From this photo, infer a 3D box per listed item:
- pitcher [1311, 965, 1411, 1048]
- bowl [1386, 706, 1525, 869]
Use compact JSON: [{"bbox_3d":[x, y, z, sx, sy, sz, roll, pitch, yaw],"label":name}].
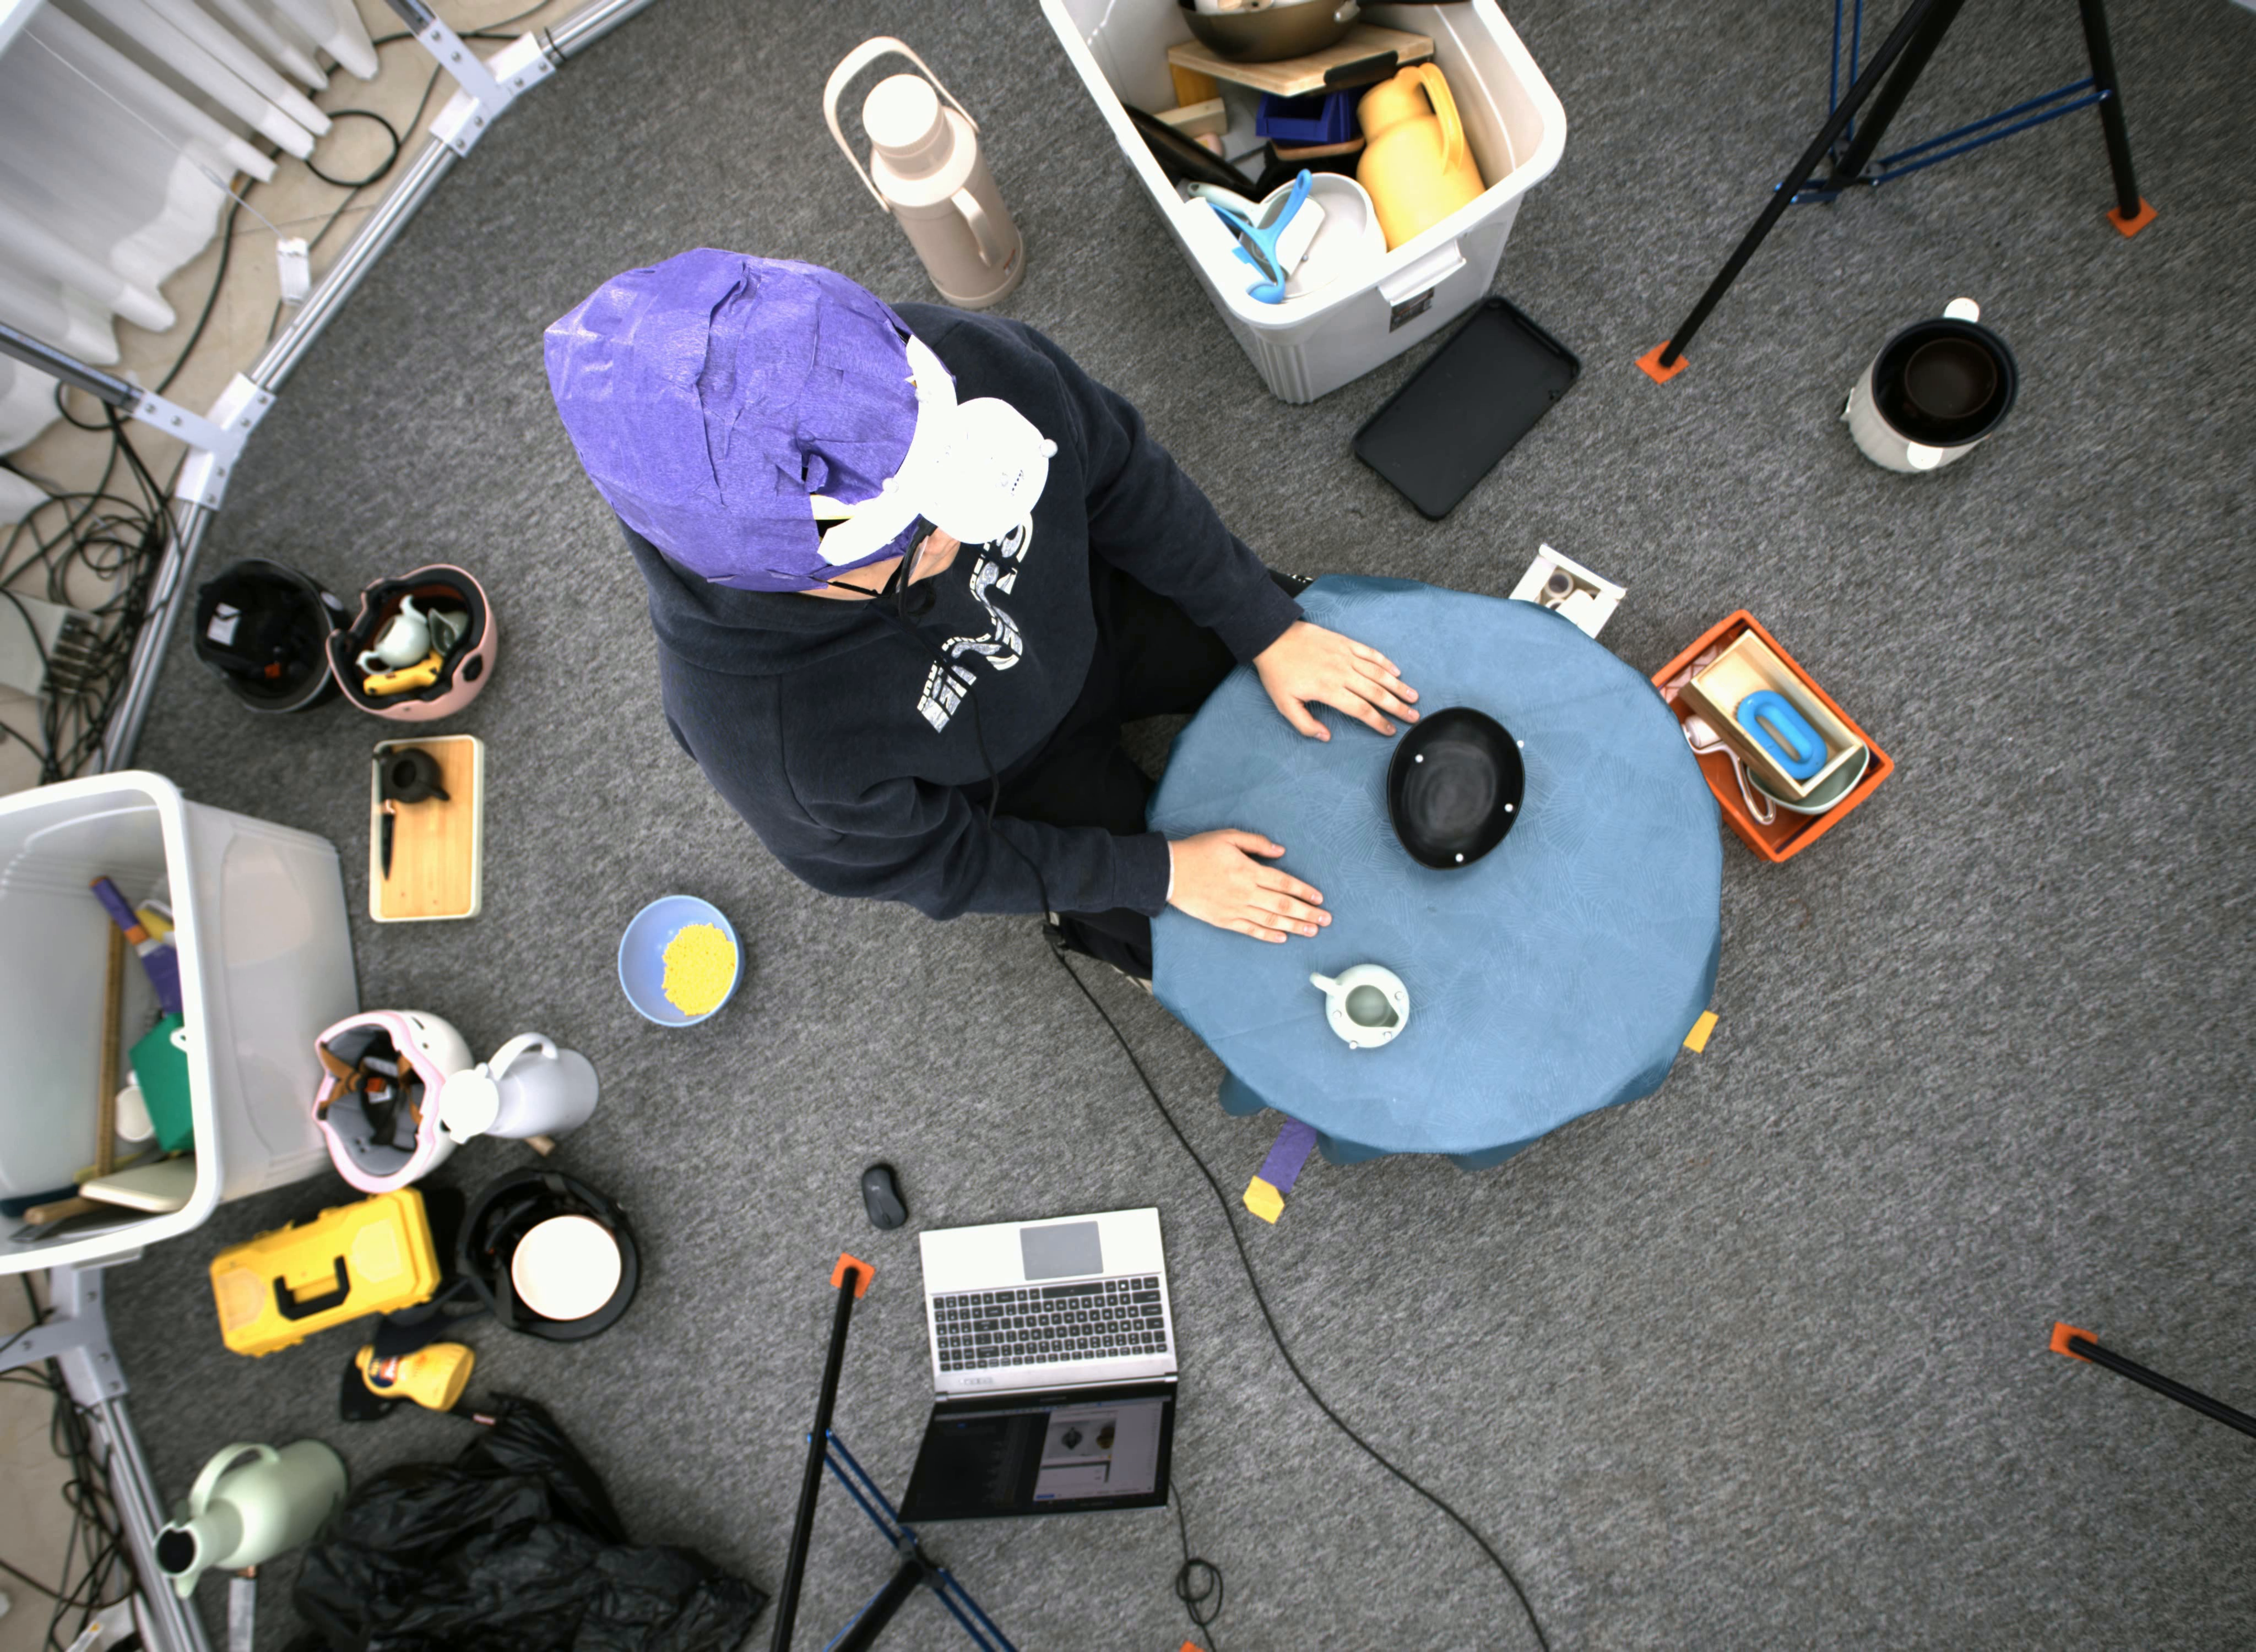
[{"bbox_3d":[0.239,0.180,1.432,0.108,0.060,0.086,25,90,14],"label":"pitcher"},{"bbox_3d":[0.337,-0.039,1.423,0.137,0.066,0.170,12,89,12],"label":"bowl"}]
